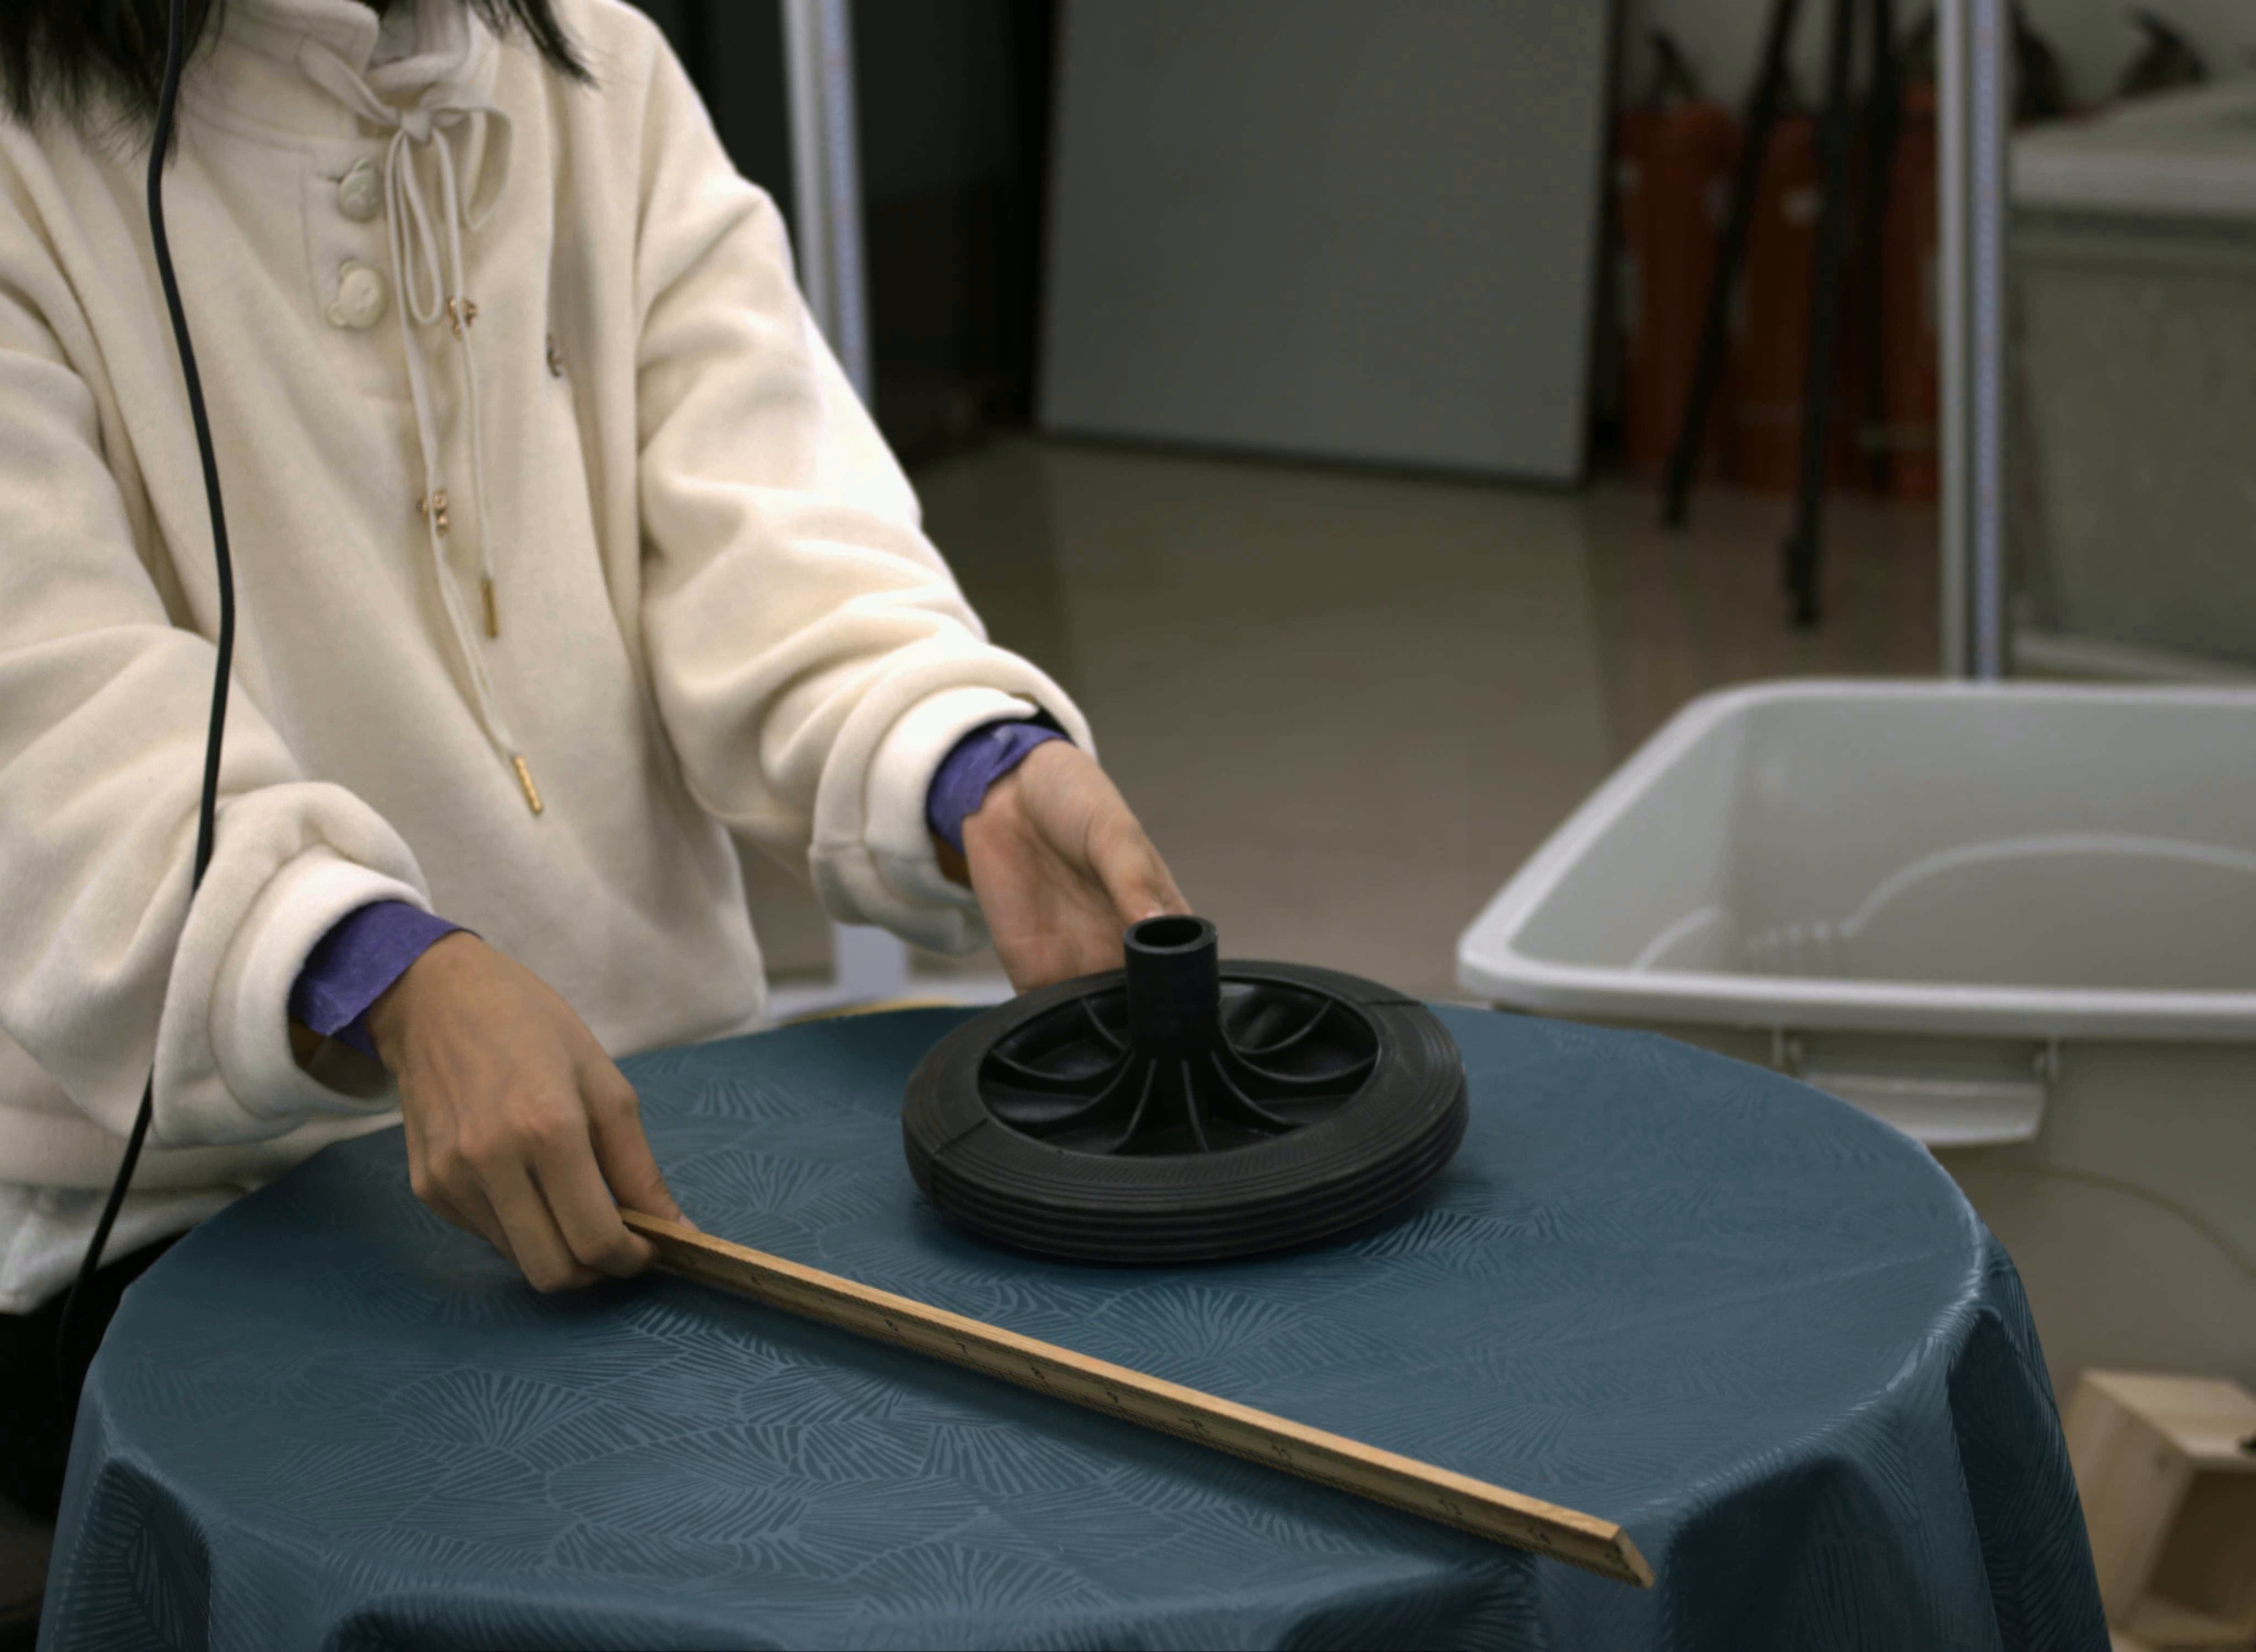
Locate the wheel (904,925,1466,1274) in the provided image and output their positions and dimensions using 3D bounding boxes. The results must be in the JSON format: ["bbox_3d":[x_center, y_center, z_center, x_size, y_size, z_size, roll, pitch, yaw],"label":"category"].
[{"bbox_3d":[0.017,0.075,1.763,0.186,0.080,0.189,-1,23,10],"label":"wheel"}]

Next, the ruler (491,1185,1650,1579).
[{"bbox_3d":[-0.036,0.156,1.588,0.505,0.026,0.006,11,55,48],"label":"ruler"}]
